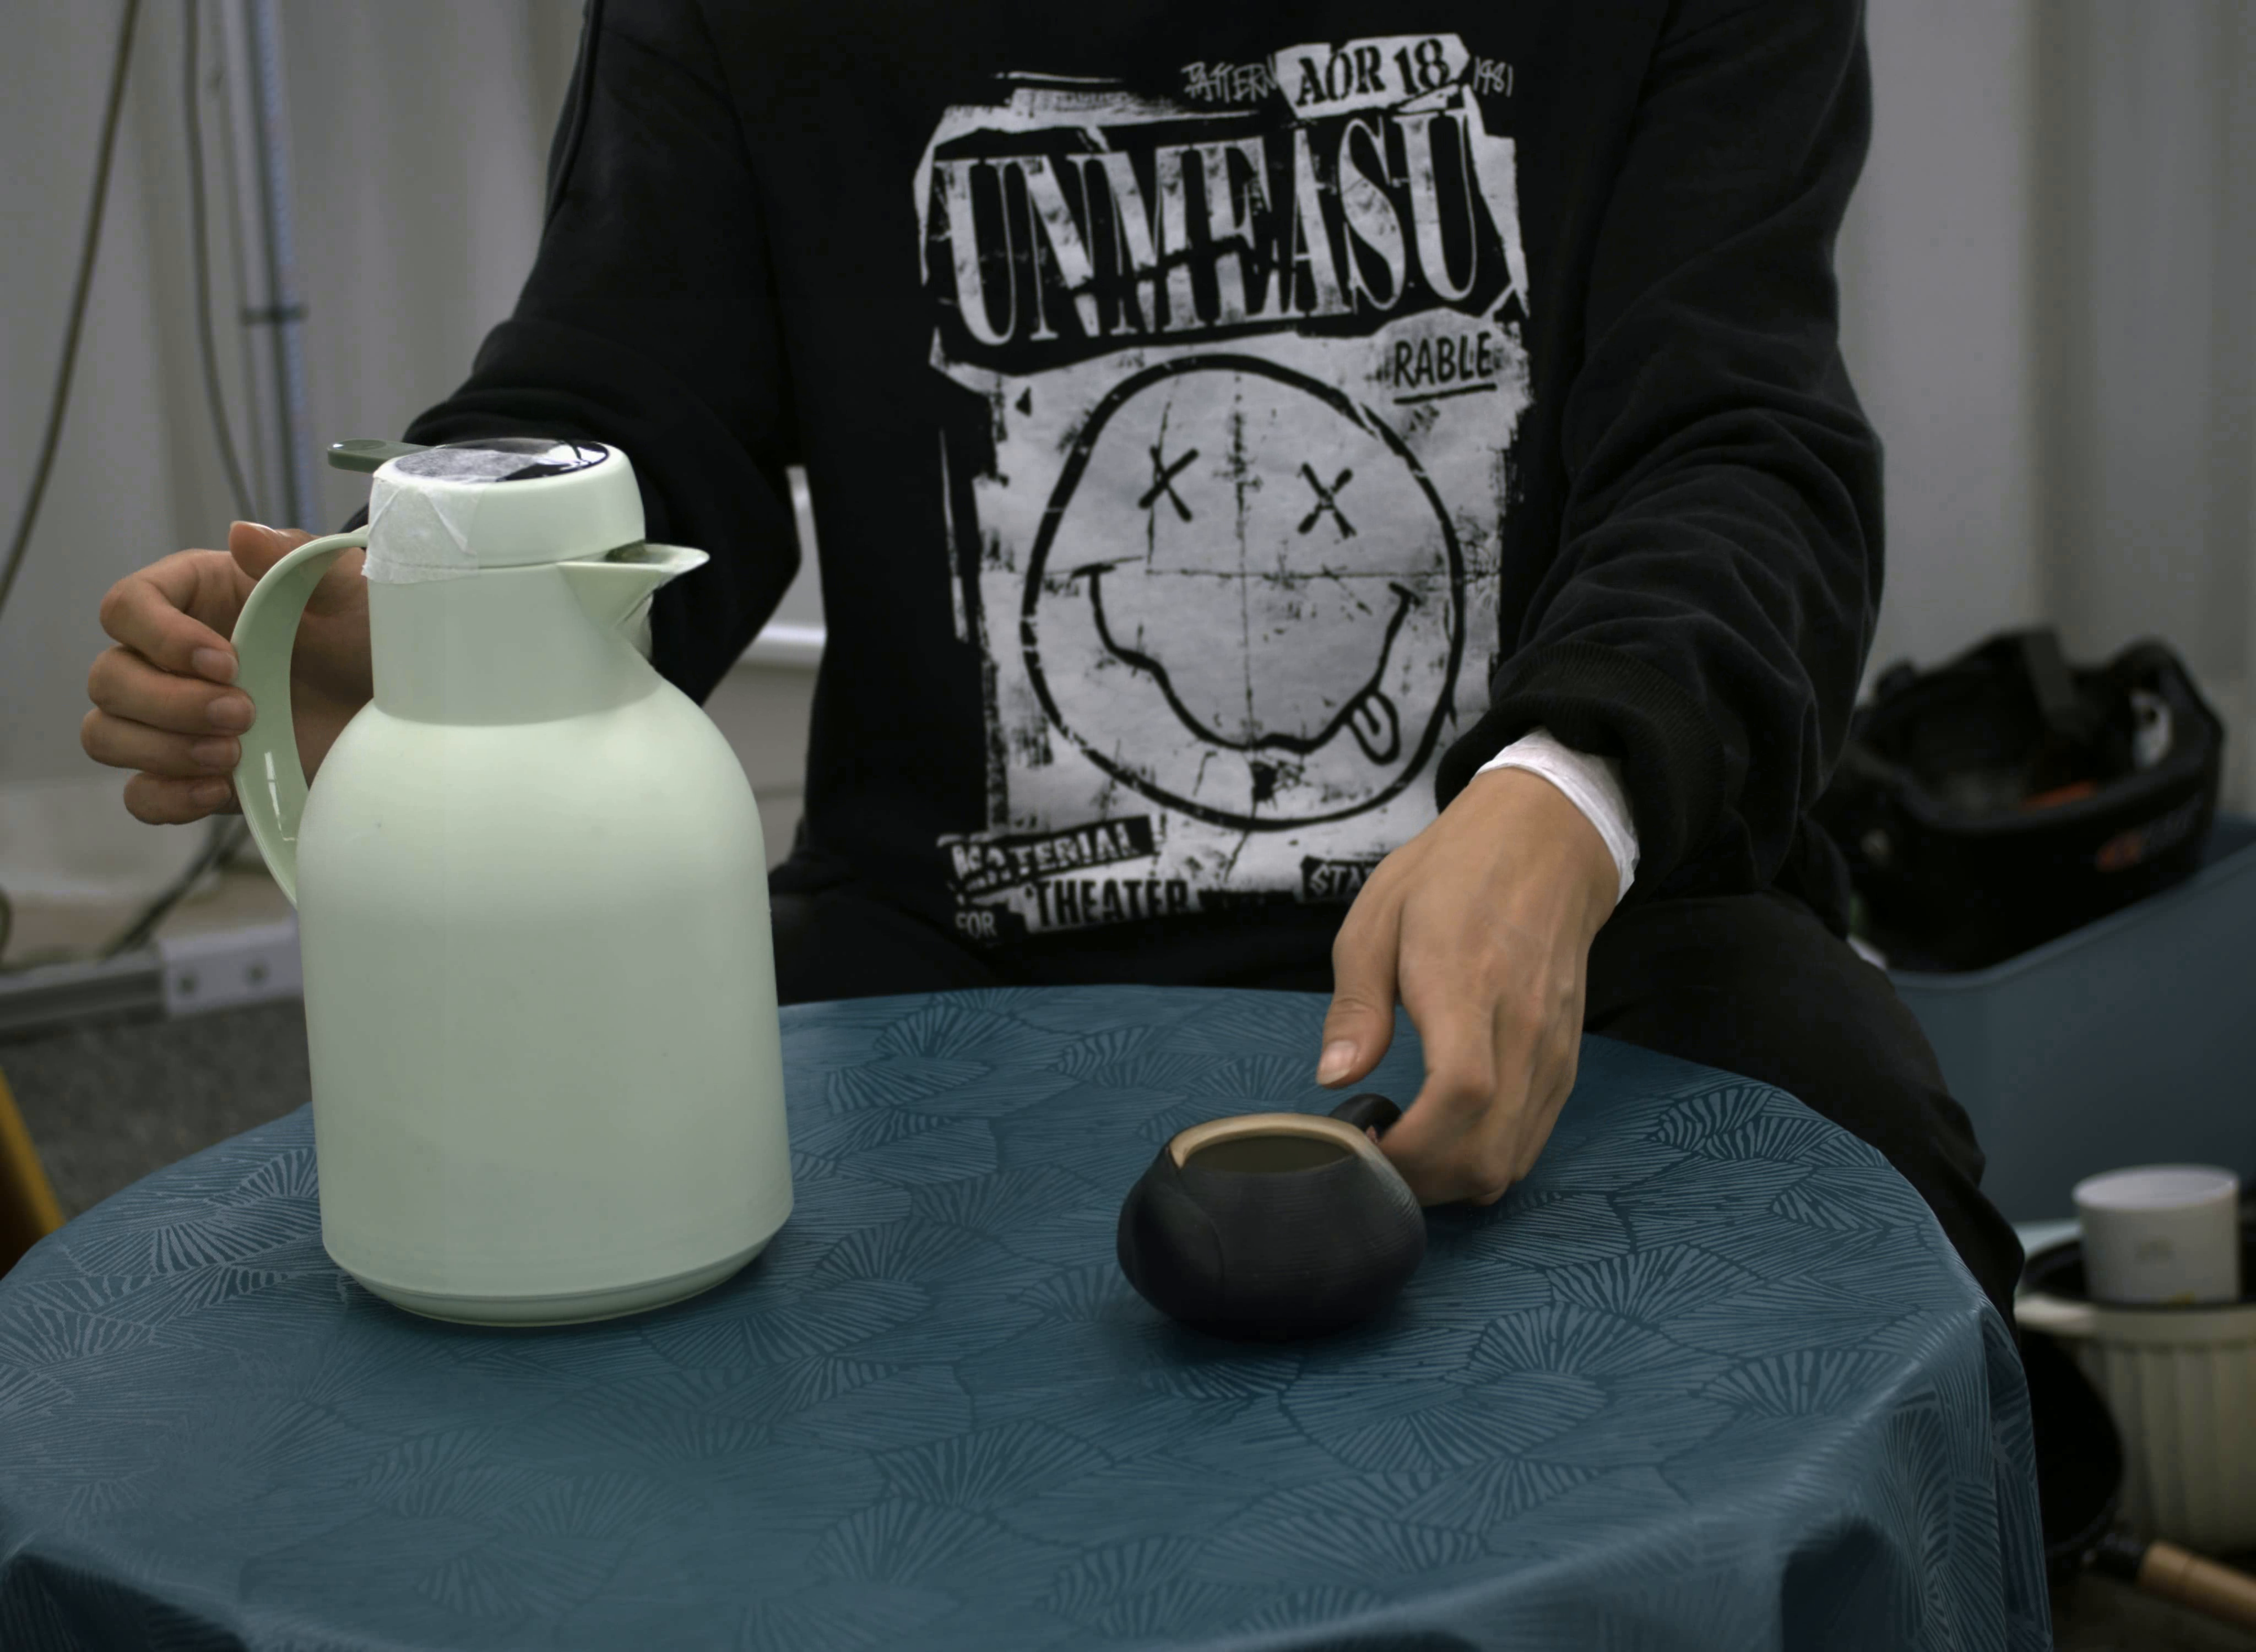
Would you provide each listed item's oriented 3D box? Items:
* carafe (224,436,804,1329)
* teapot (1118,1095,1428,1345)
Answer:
[{"bbox_3d":[-0.190,0.012,1.657,0.187,0.256,0.144,3,15,34],"label":"carafe"},{"bbox_3d":[0.043,0.117,1.593,0.091,0.053,0.133,10,20,37],"label":"teapot"}]
